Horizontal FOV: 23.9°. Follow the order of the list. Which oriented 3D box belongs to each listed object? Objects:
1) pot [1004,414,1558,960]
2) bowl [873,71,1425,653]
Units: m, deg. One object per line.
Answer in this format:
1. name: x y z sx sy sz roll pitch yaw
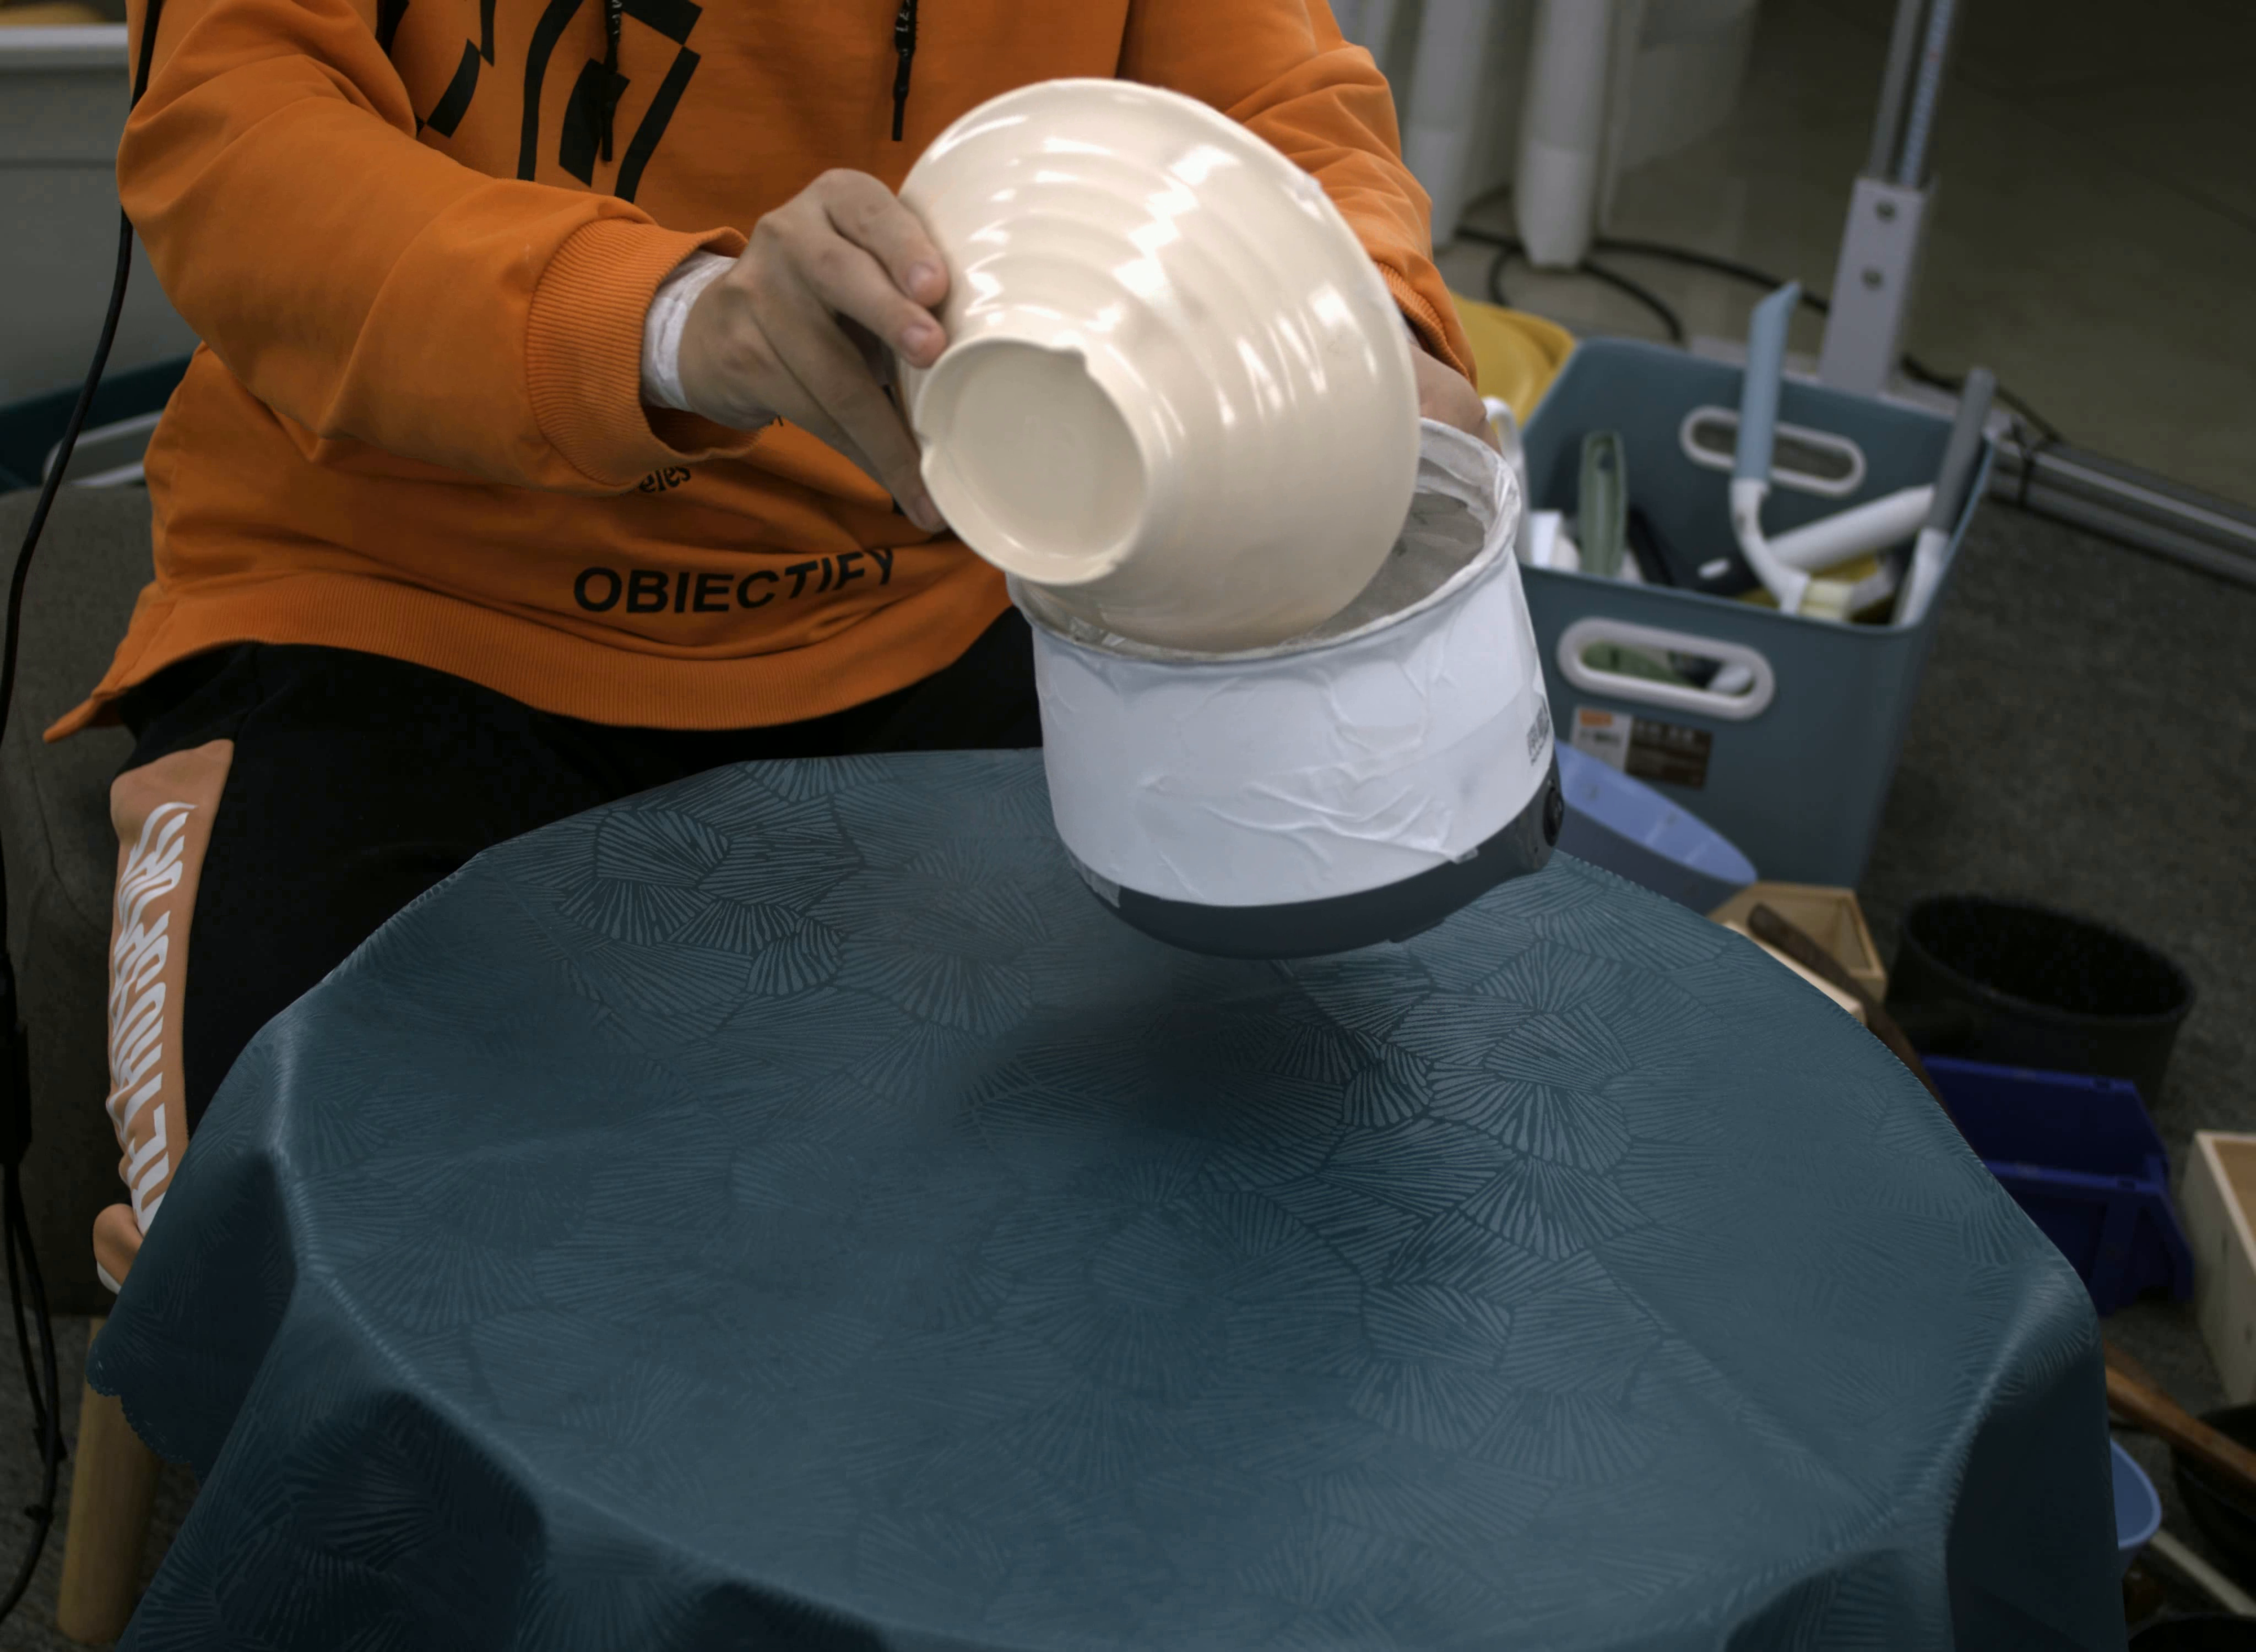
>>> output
1. pot: 0.061 -0.063 1.858 0.179 0.136 0.234 0 32 17
2. bowl: -0.011 -0.133 1.711 0.205 0.203 0.078 19 34 22
